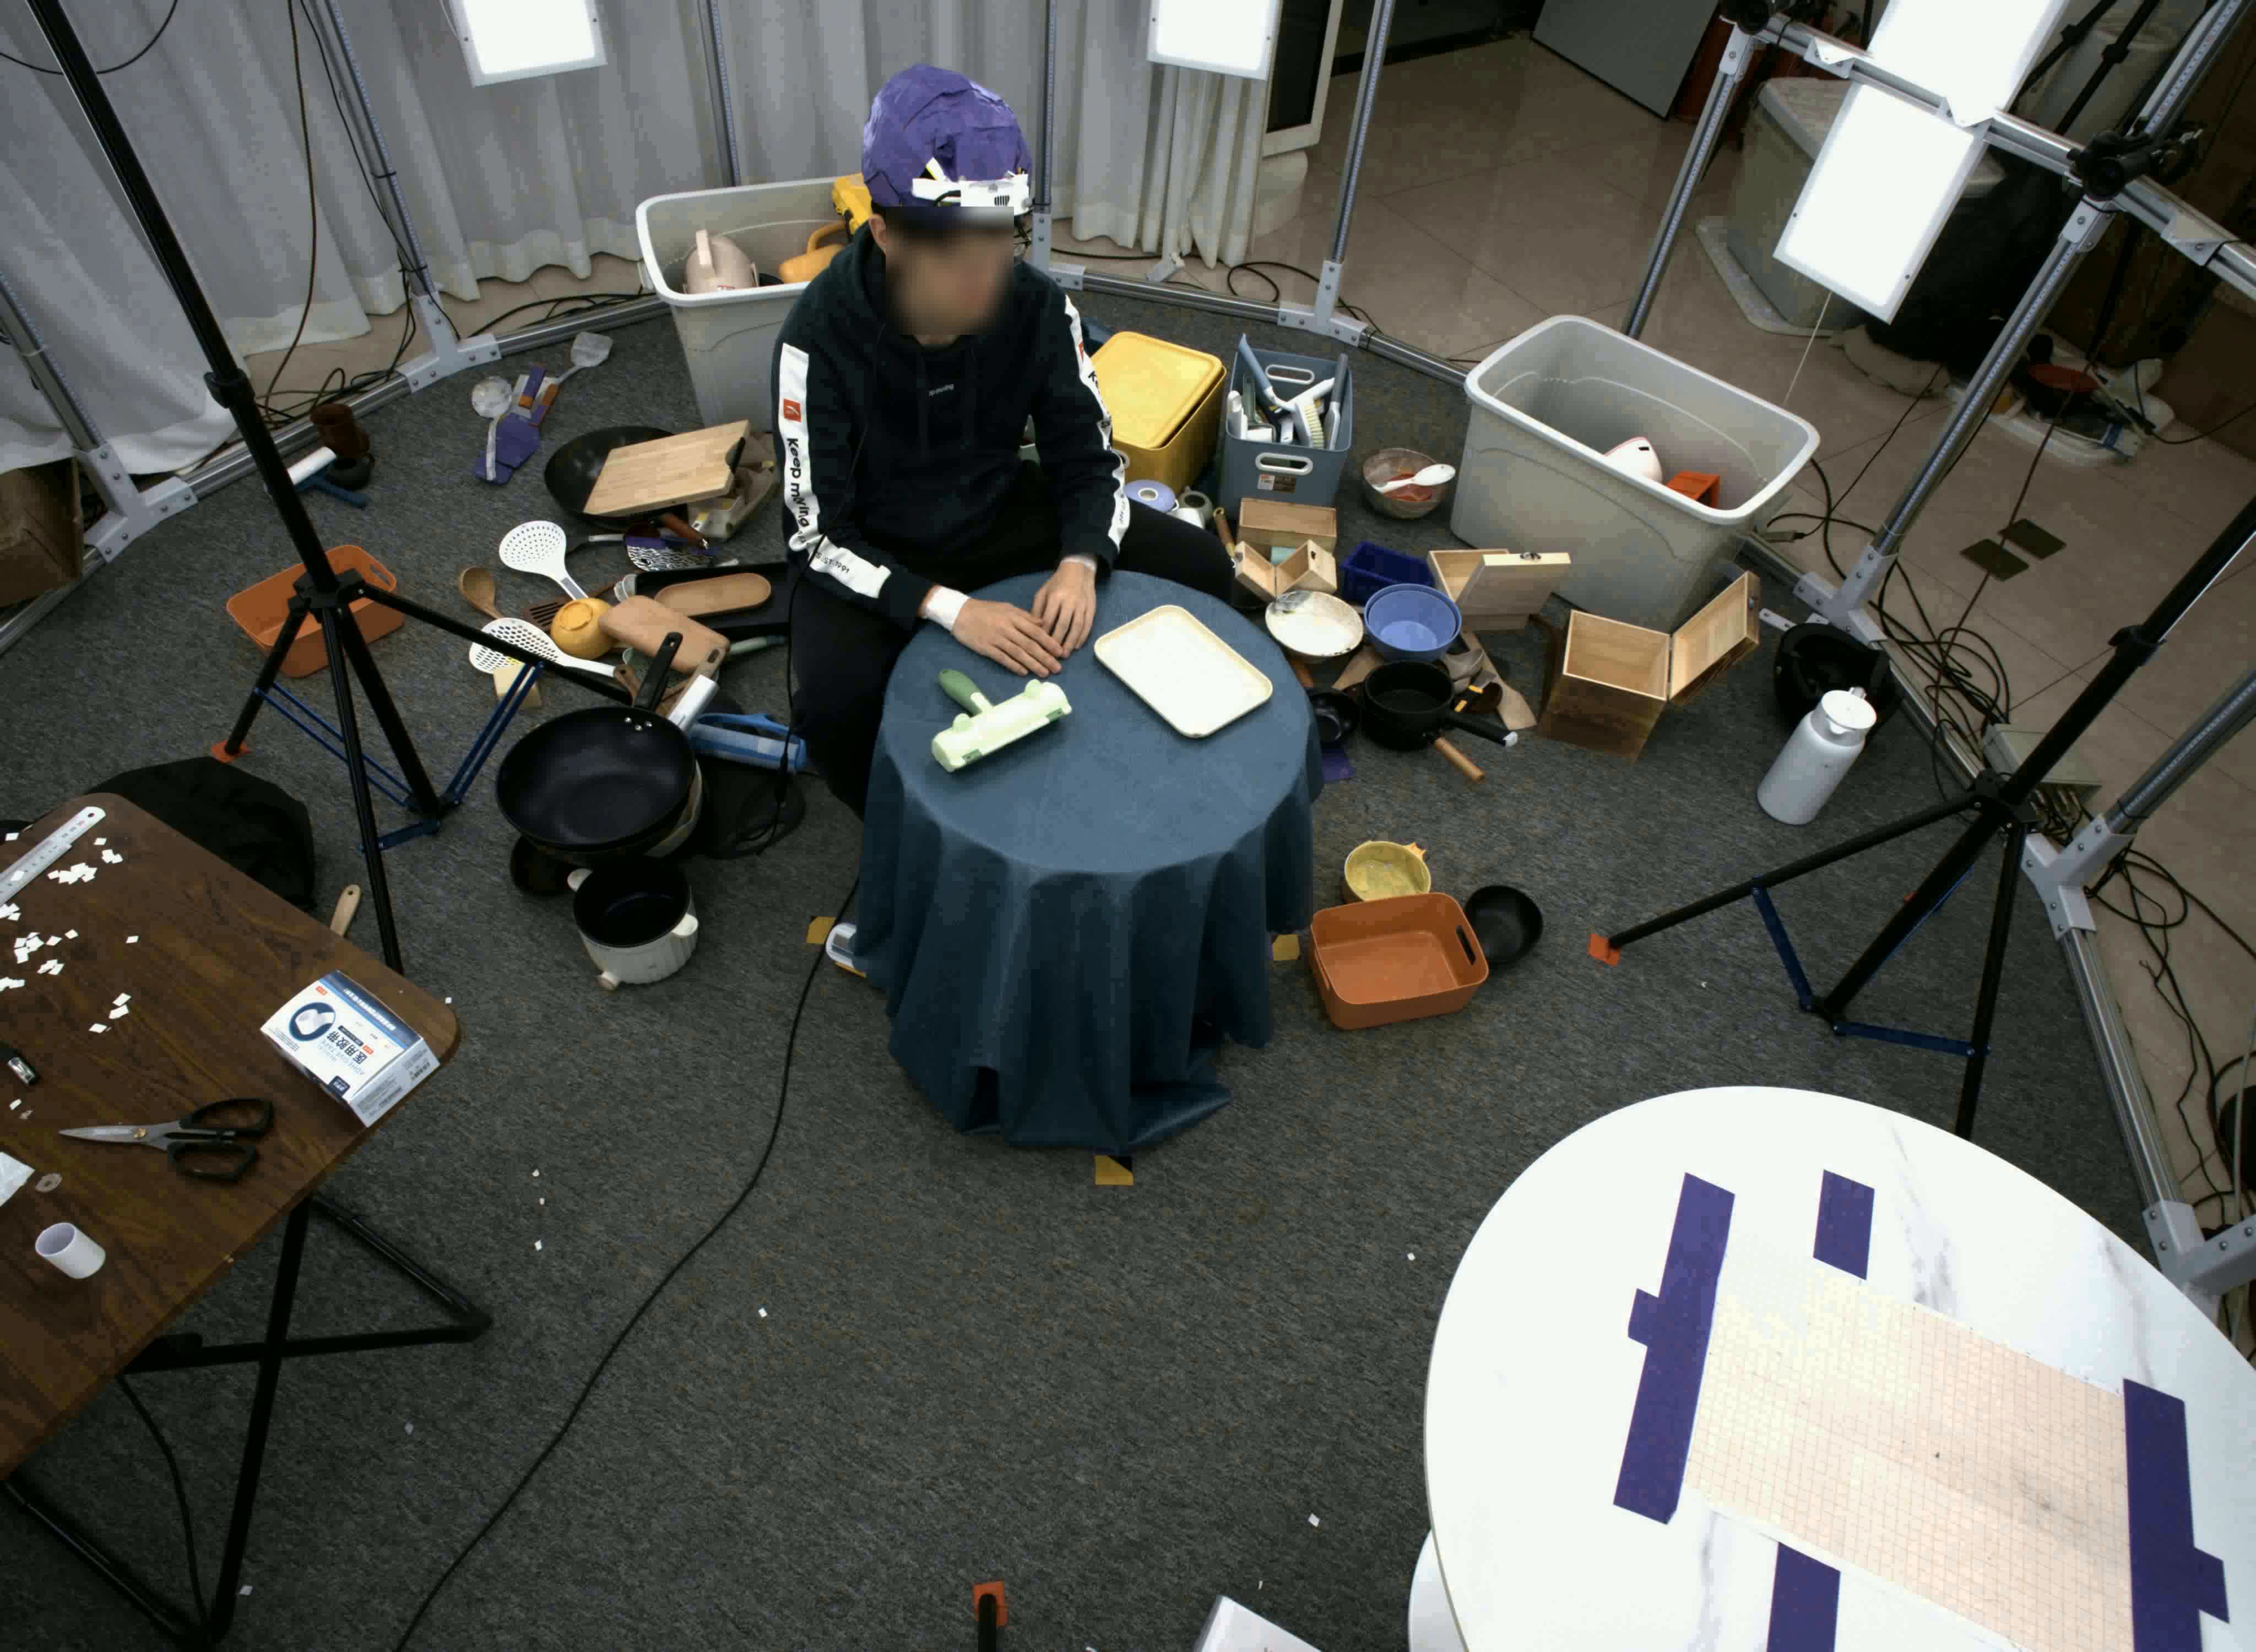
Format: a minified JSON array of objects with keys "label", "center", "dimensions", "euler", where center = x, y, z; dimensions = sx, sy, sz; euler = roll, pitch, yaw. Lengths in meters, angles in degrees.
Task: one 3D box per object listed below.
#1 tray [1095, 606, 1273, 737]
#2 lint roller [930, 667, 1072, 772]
[{"label":"tray","center":[0.079,-0.225,1.856],"dimensions":[0.172,0.017,0.244],"euler":[-30,57,-27]},{"label":"lint roller","center":[-0.205,-0.177,1.759],"dimensions":[0.200,0.080,0.186],"euler":[-29,61,-25]}]
